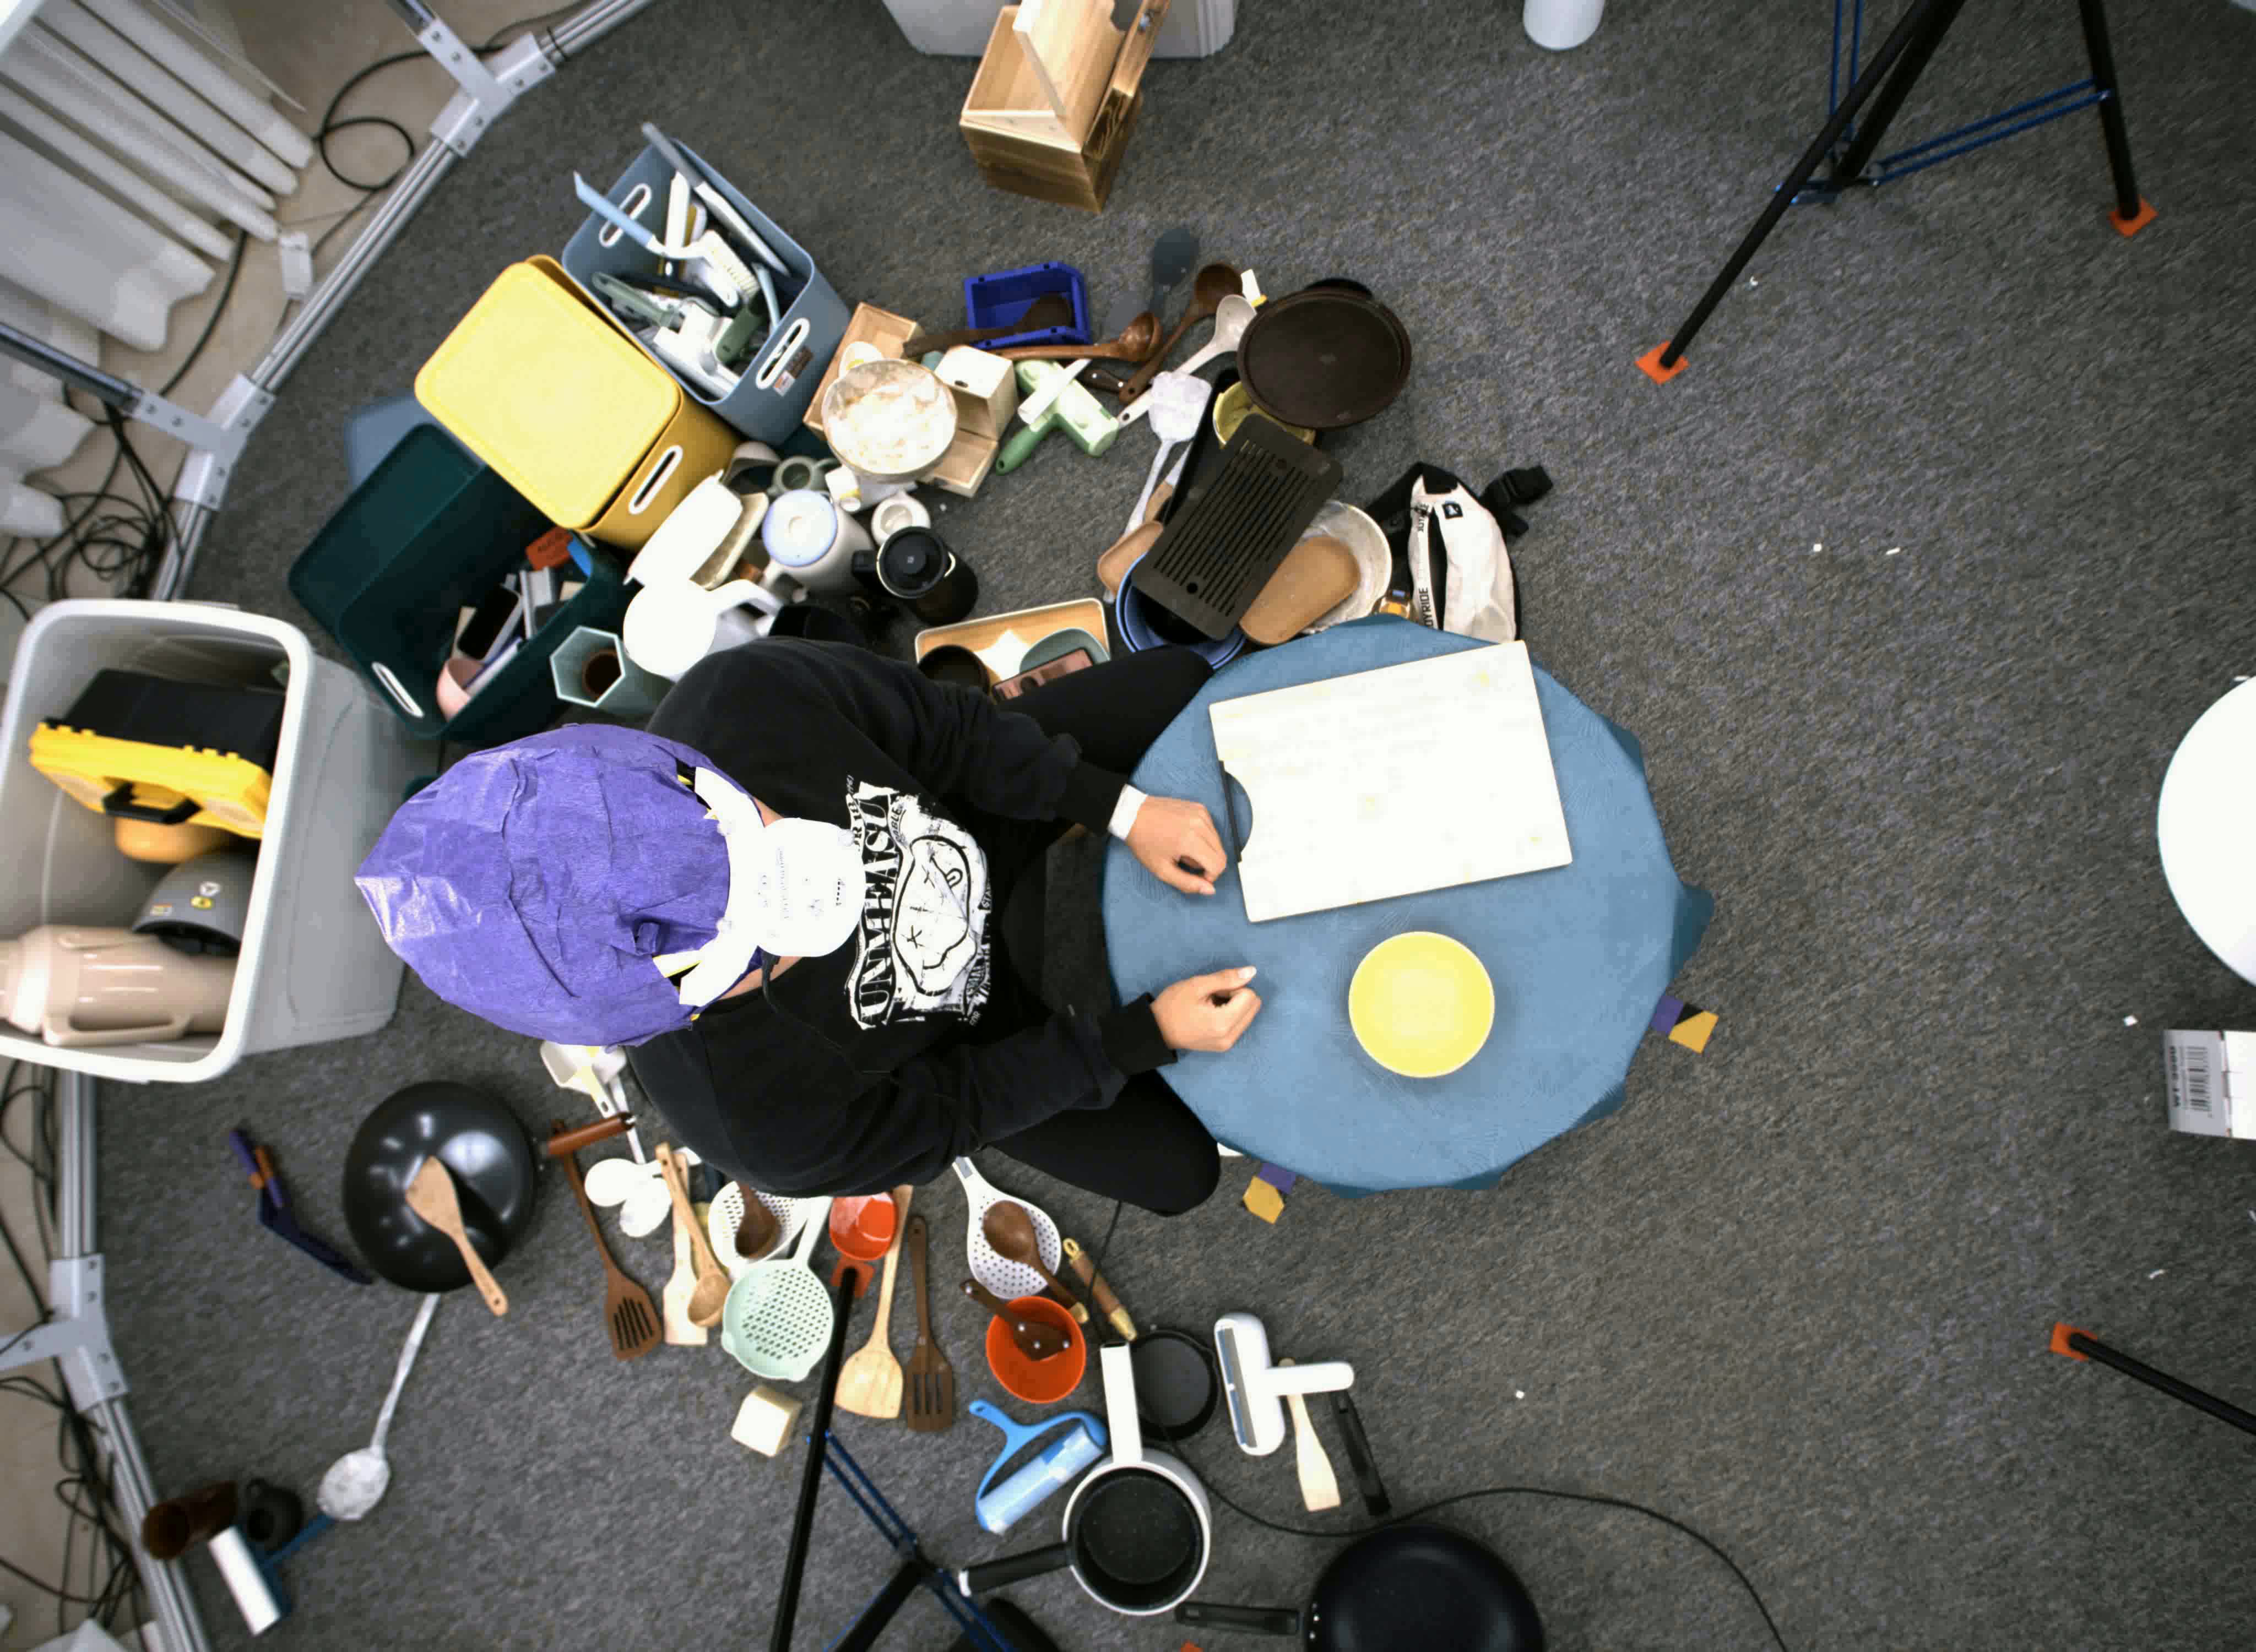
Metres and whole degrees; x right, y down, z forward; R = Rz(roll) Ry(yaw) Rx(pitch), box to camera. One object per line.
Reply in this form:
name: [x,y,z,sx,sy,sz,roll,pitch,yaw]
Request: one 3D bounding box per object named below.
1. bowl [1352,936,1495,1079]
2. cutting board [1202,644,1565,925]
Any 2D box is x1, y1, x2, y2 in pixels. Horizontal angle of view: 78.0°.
bowl: [0.304,0.186,1.423,0.146,0.060,0.144,-2,83,12]
cutting board: [0.270,-0.044,1.465,0.350,0.023,0.249,-12,84,9]
